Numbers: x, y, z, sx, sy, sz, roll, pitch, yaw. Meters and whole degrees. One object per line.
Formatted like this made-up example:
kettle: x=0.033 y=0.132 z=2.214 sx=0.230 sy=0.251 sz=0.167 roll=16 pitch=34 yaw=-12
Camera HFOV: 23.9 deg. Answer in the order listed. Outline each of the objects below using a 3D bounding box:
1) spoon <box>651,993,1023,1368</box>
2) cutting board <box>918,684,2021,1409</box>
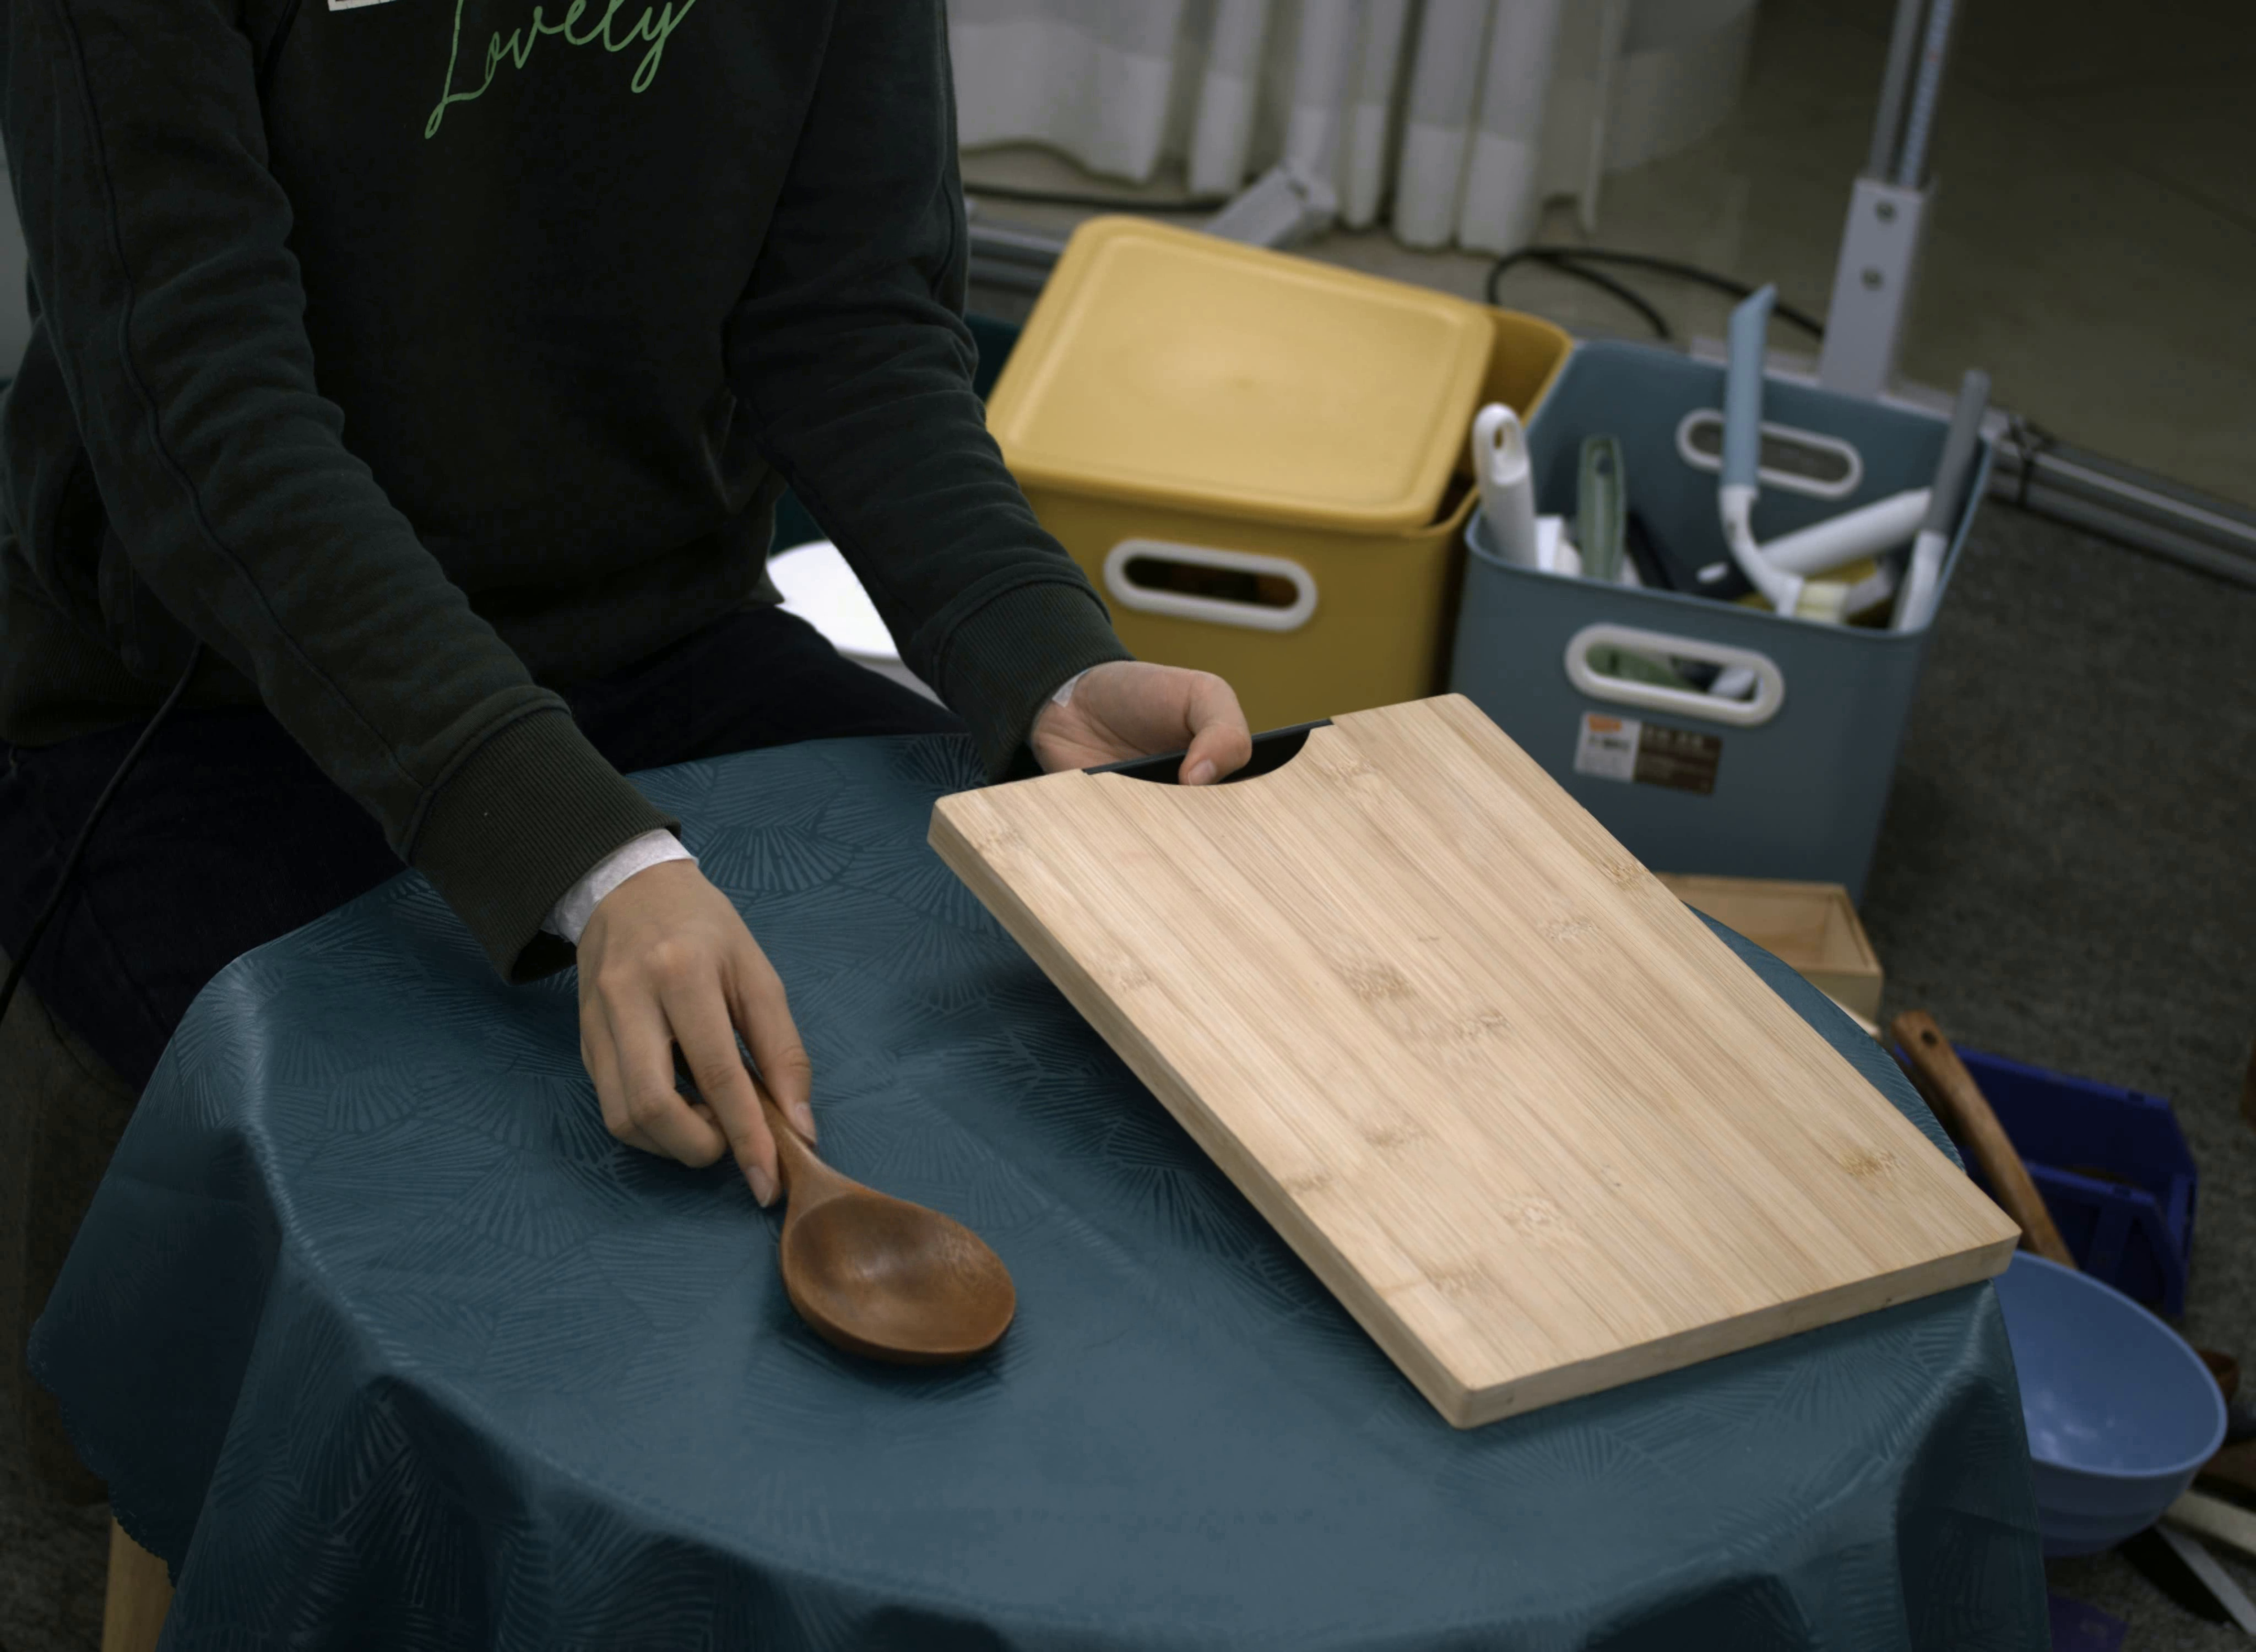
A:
spoon: x=-0.104 y=0.117 z=1.758 sx=0.075 sy=0.017 sz=0.218 roll=-11 pitch=36 yaw=-28
cutting board: x=0.113 y=0.068 z=1.861 sx=0.249 sy=0.023 sz=0.352 roll=-12 pitch=40 yaw=-33
